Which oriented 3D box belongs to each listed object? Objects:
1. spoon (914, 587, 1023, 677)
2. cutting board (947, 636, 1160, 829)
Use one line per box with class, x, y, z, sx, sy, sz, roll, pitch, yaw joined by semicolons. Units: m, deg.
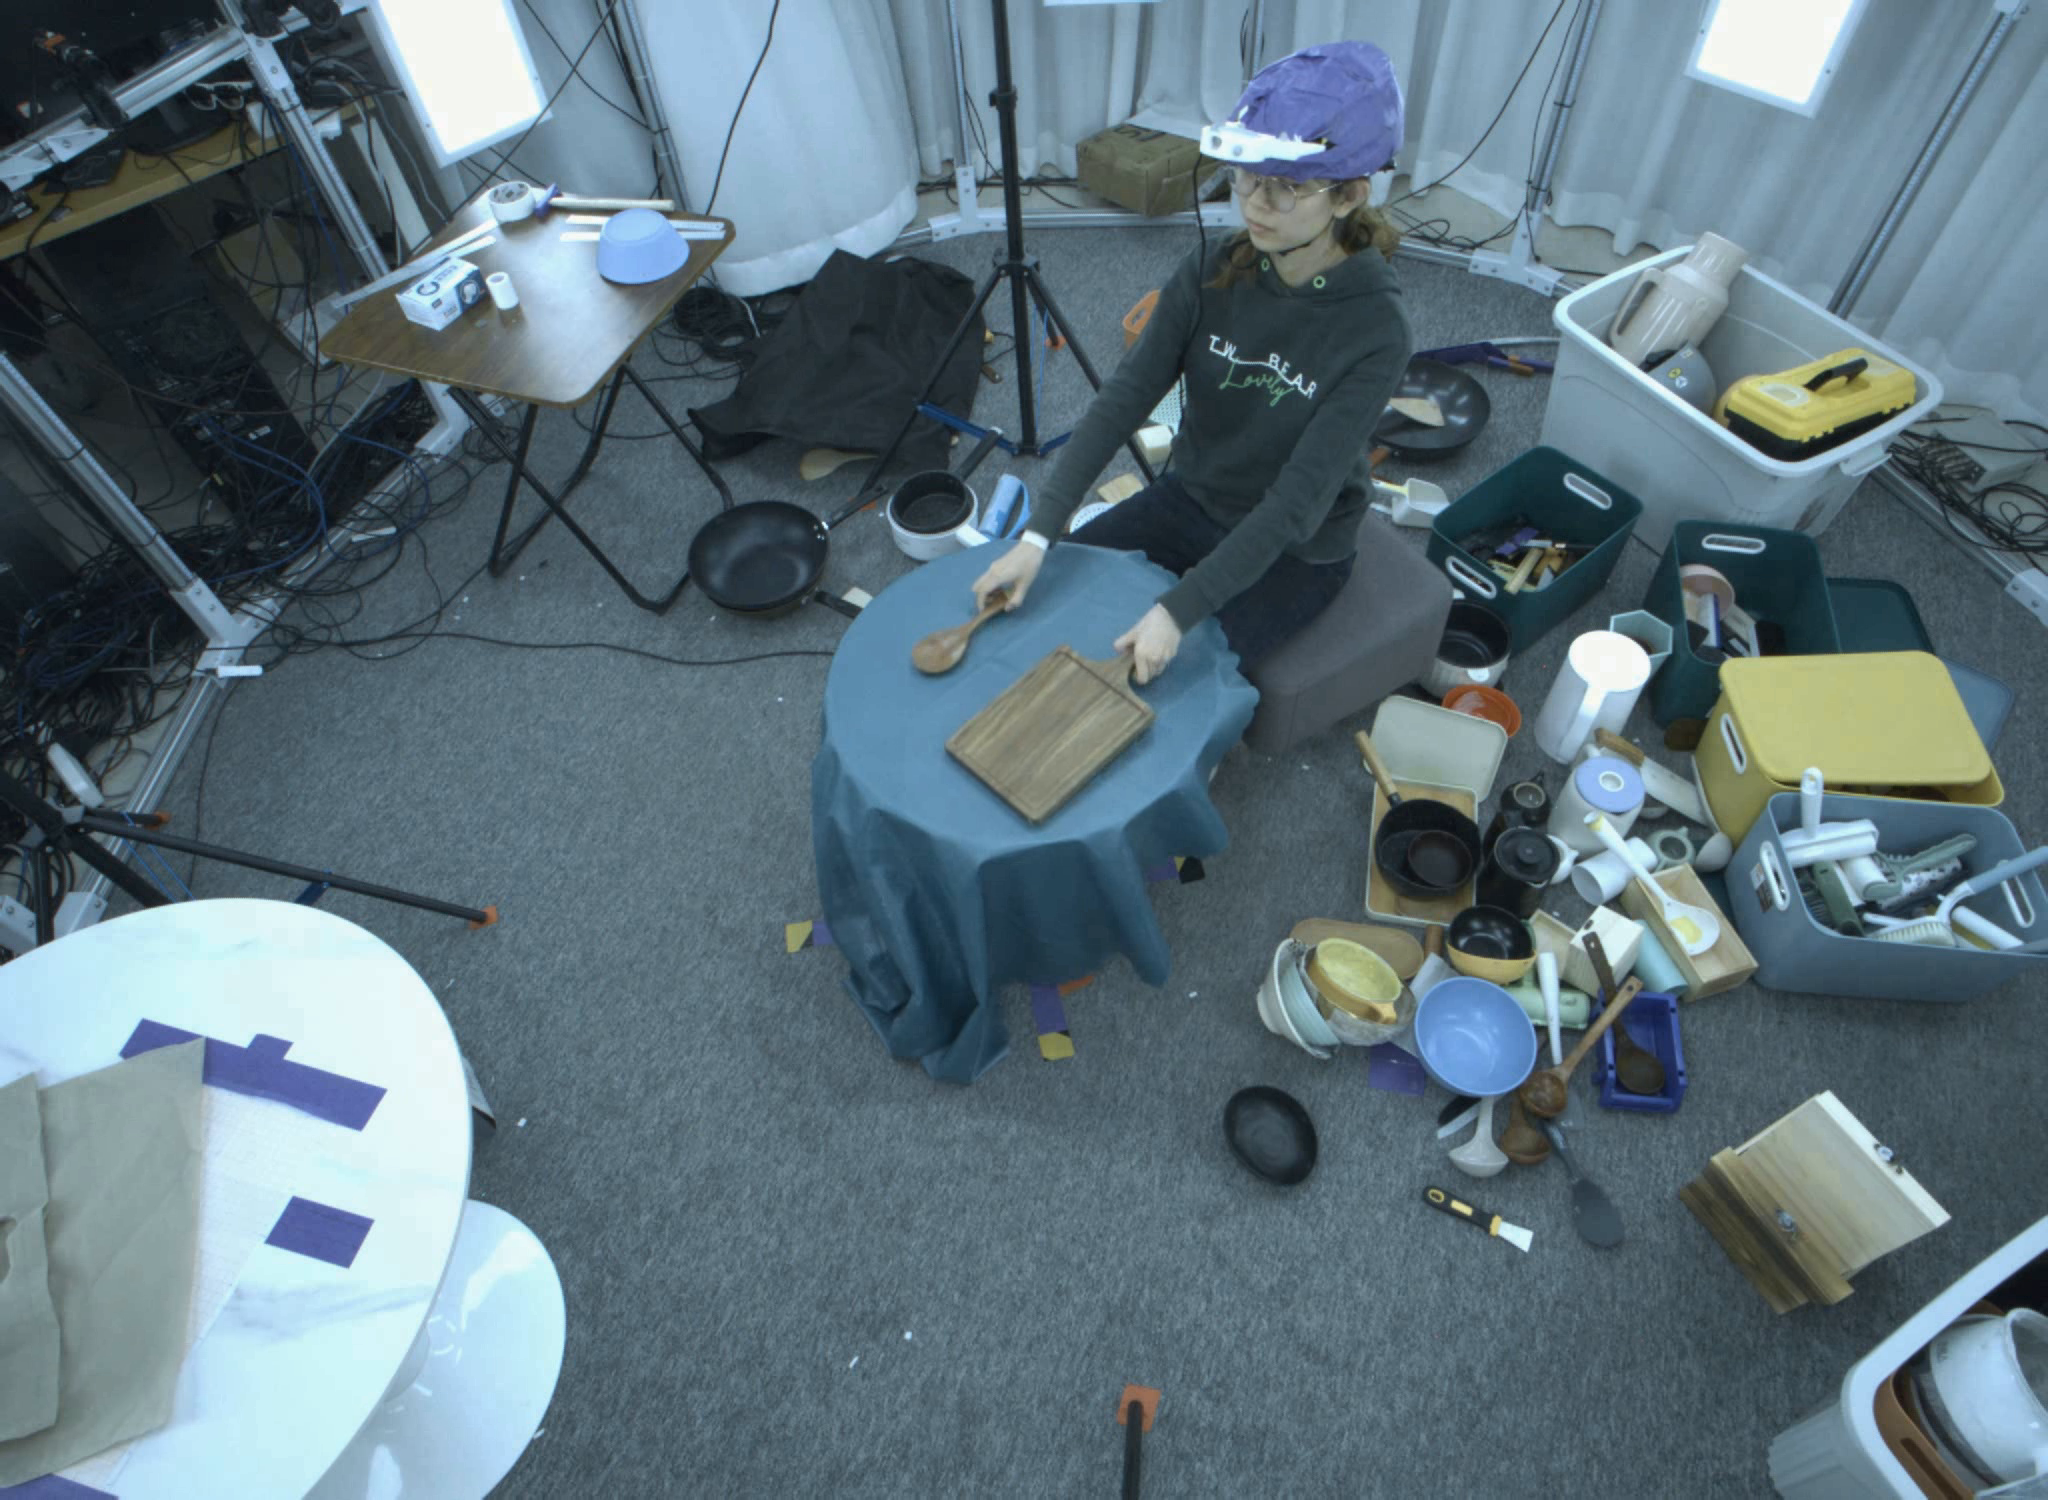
spoon;-0.083;-0.185;1.914;0.074;0.017;0.217;38;68;27
cutting board;0.076;-0.053;1.806;0.354;0.023;0.197;-42;62;-19
